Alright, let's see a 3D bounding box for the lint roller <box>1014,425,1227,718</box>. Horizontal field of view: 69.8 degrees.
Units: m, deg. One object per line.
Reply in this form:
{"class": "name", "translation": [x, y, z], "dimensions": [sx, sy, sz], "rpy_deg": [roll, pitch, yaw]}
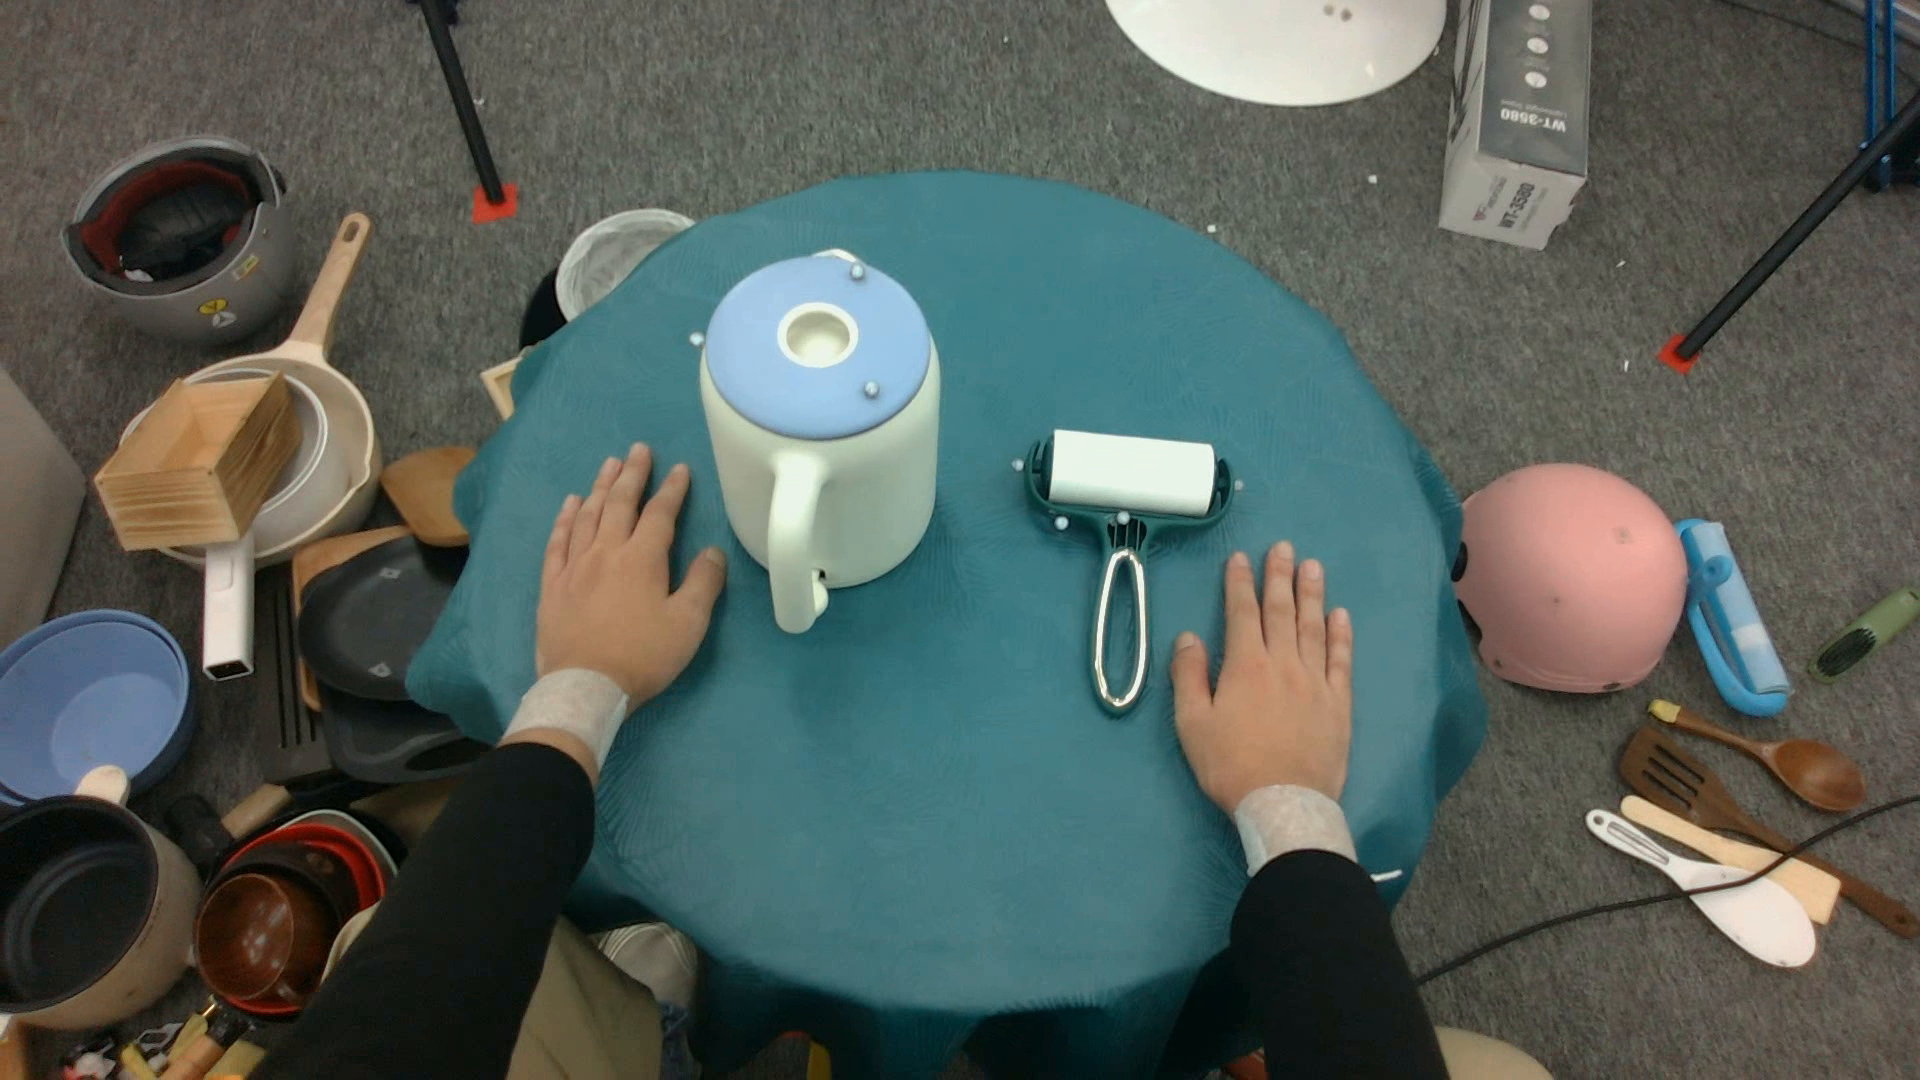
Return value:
{"class": "lint roller", "translation": [0.094, 0.015, 0.833], "dimensions": [0.134, 0.048, 0.181], "rpy_deg": [5, 63, -1]}

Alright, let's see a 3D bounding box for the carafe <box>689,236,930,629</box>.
{"class": "carafe", "translation": [-0.086, -0.047, 0.782], "dimensions": [0.132, 0.182, 0.192], "rpy_deg": [5, 63, 0]}
